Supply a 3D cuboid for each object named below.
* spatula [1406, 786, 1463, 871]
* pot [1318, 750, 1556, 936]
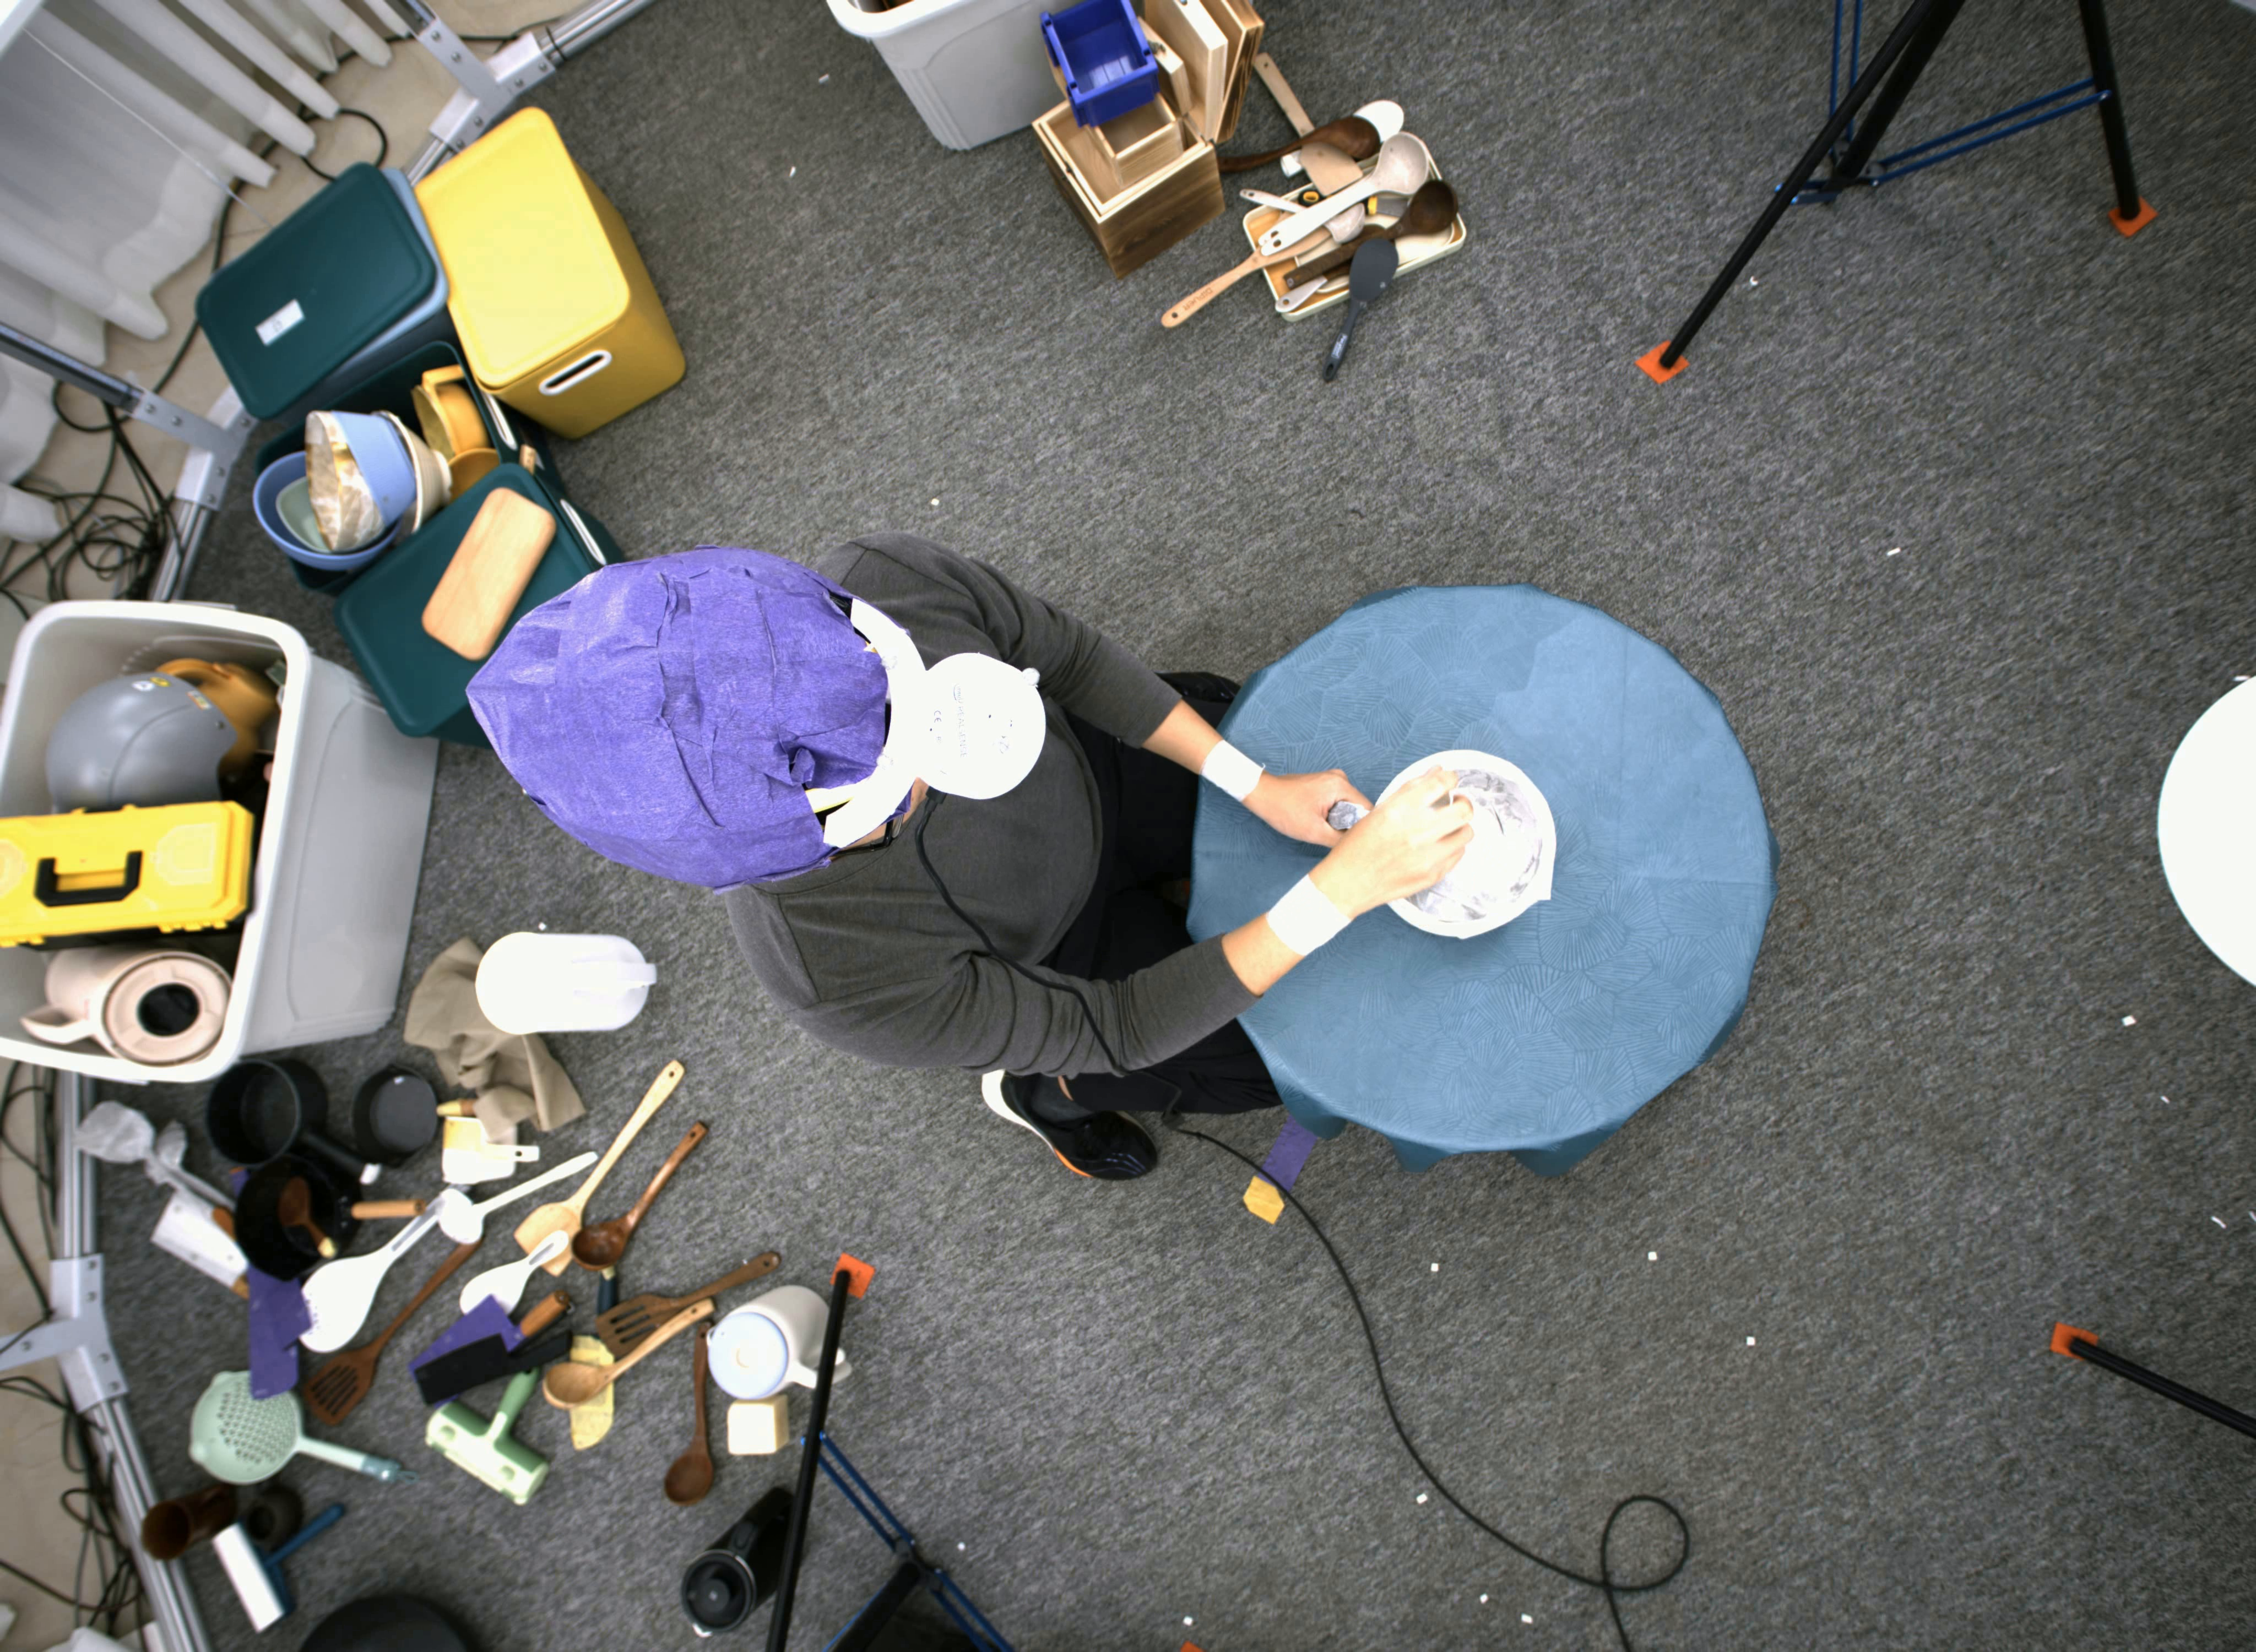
[{"bbox_3d":[0.282,0.013,1.270,0.059,0.289,0.032,-16,74,9],"label":"spatula"},{"bbox_3d":[0.304,0.013,1.388,0.234,0.137,0.178,13,88,11],"label":"pot"}]
